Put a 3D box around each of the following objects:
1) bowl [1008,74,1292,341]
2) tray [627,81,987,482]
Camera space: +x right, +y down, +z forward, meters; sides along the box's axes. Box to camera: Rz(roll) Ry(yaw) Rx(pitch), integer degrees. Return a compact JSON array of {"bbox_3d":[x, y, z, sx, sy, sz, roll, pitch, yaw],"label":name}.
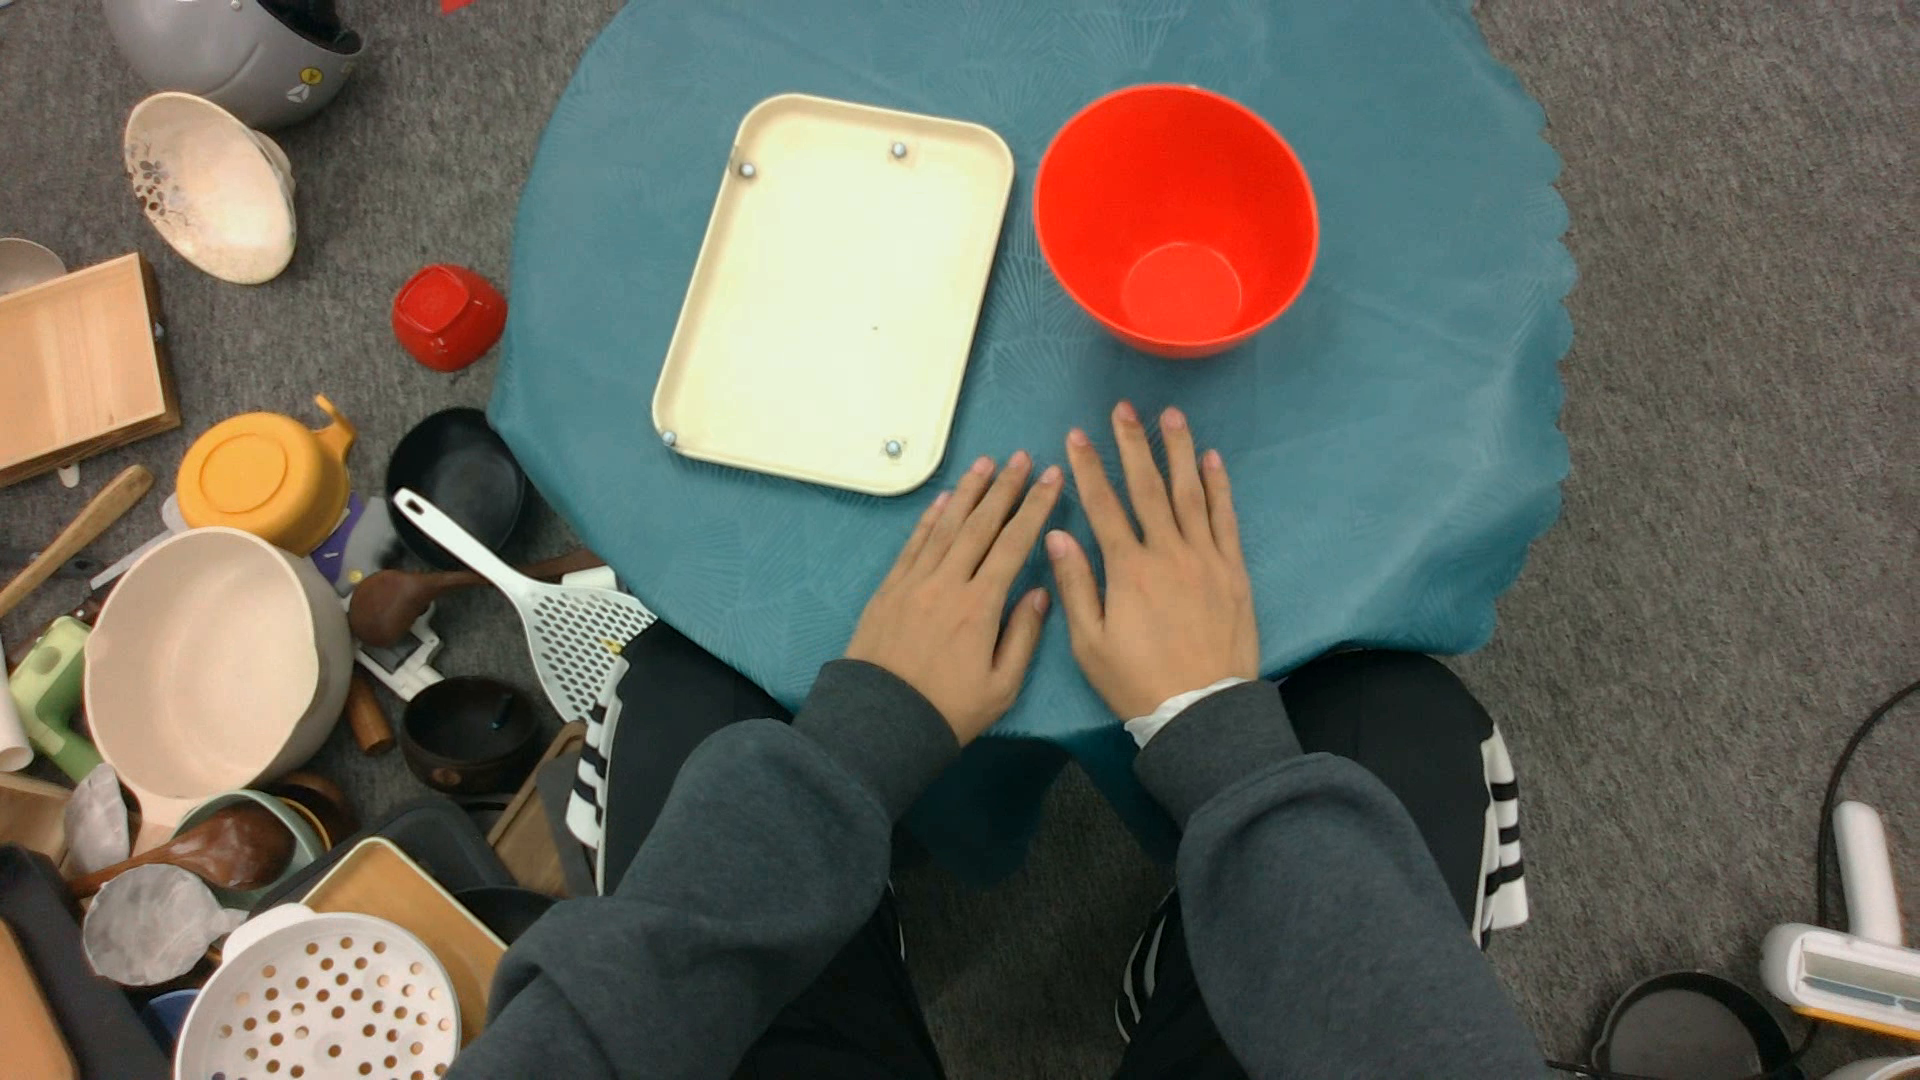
[{"bbox_3d":[0.102,-0.165,0.749,0.148,0.104,0.148,-1,71,3],"label":"bowl"},{"bbox_3d":[-0.085,-0.153,0.798,0.171,0.017,0.240,11,73,6],"label":"tray"}]
